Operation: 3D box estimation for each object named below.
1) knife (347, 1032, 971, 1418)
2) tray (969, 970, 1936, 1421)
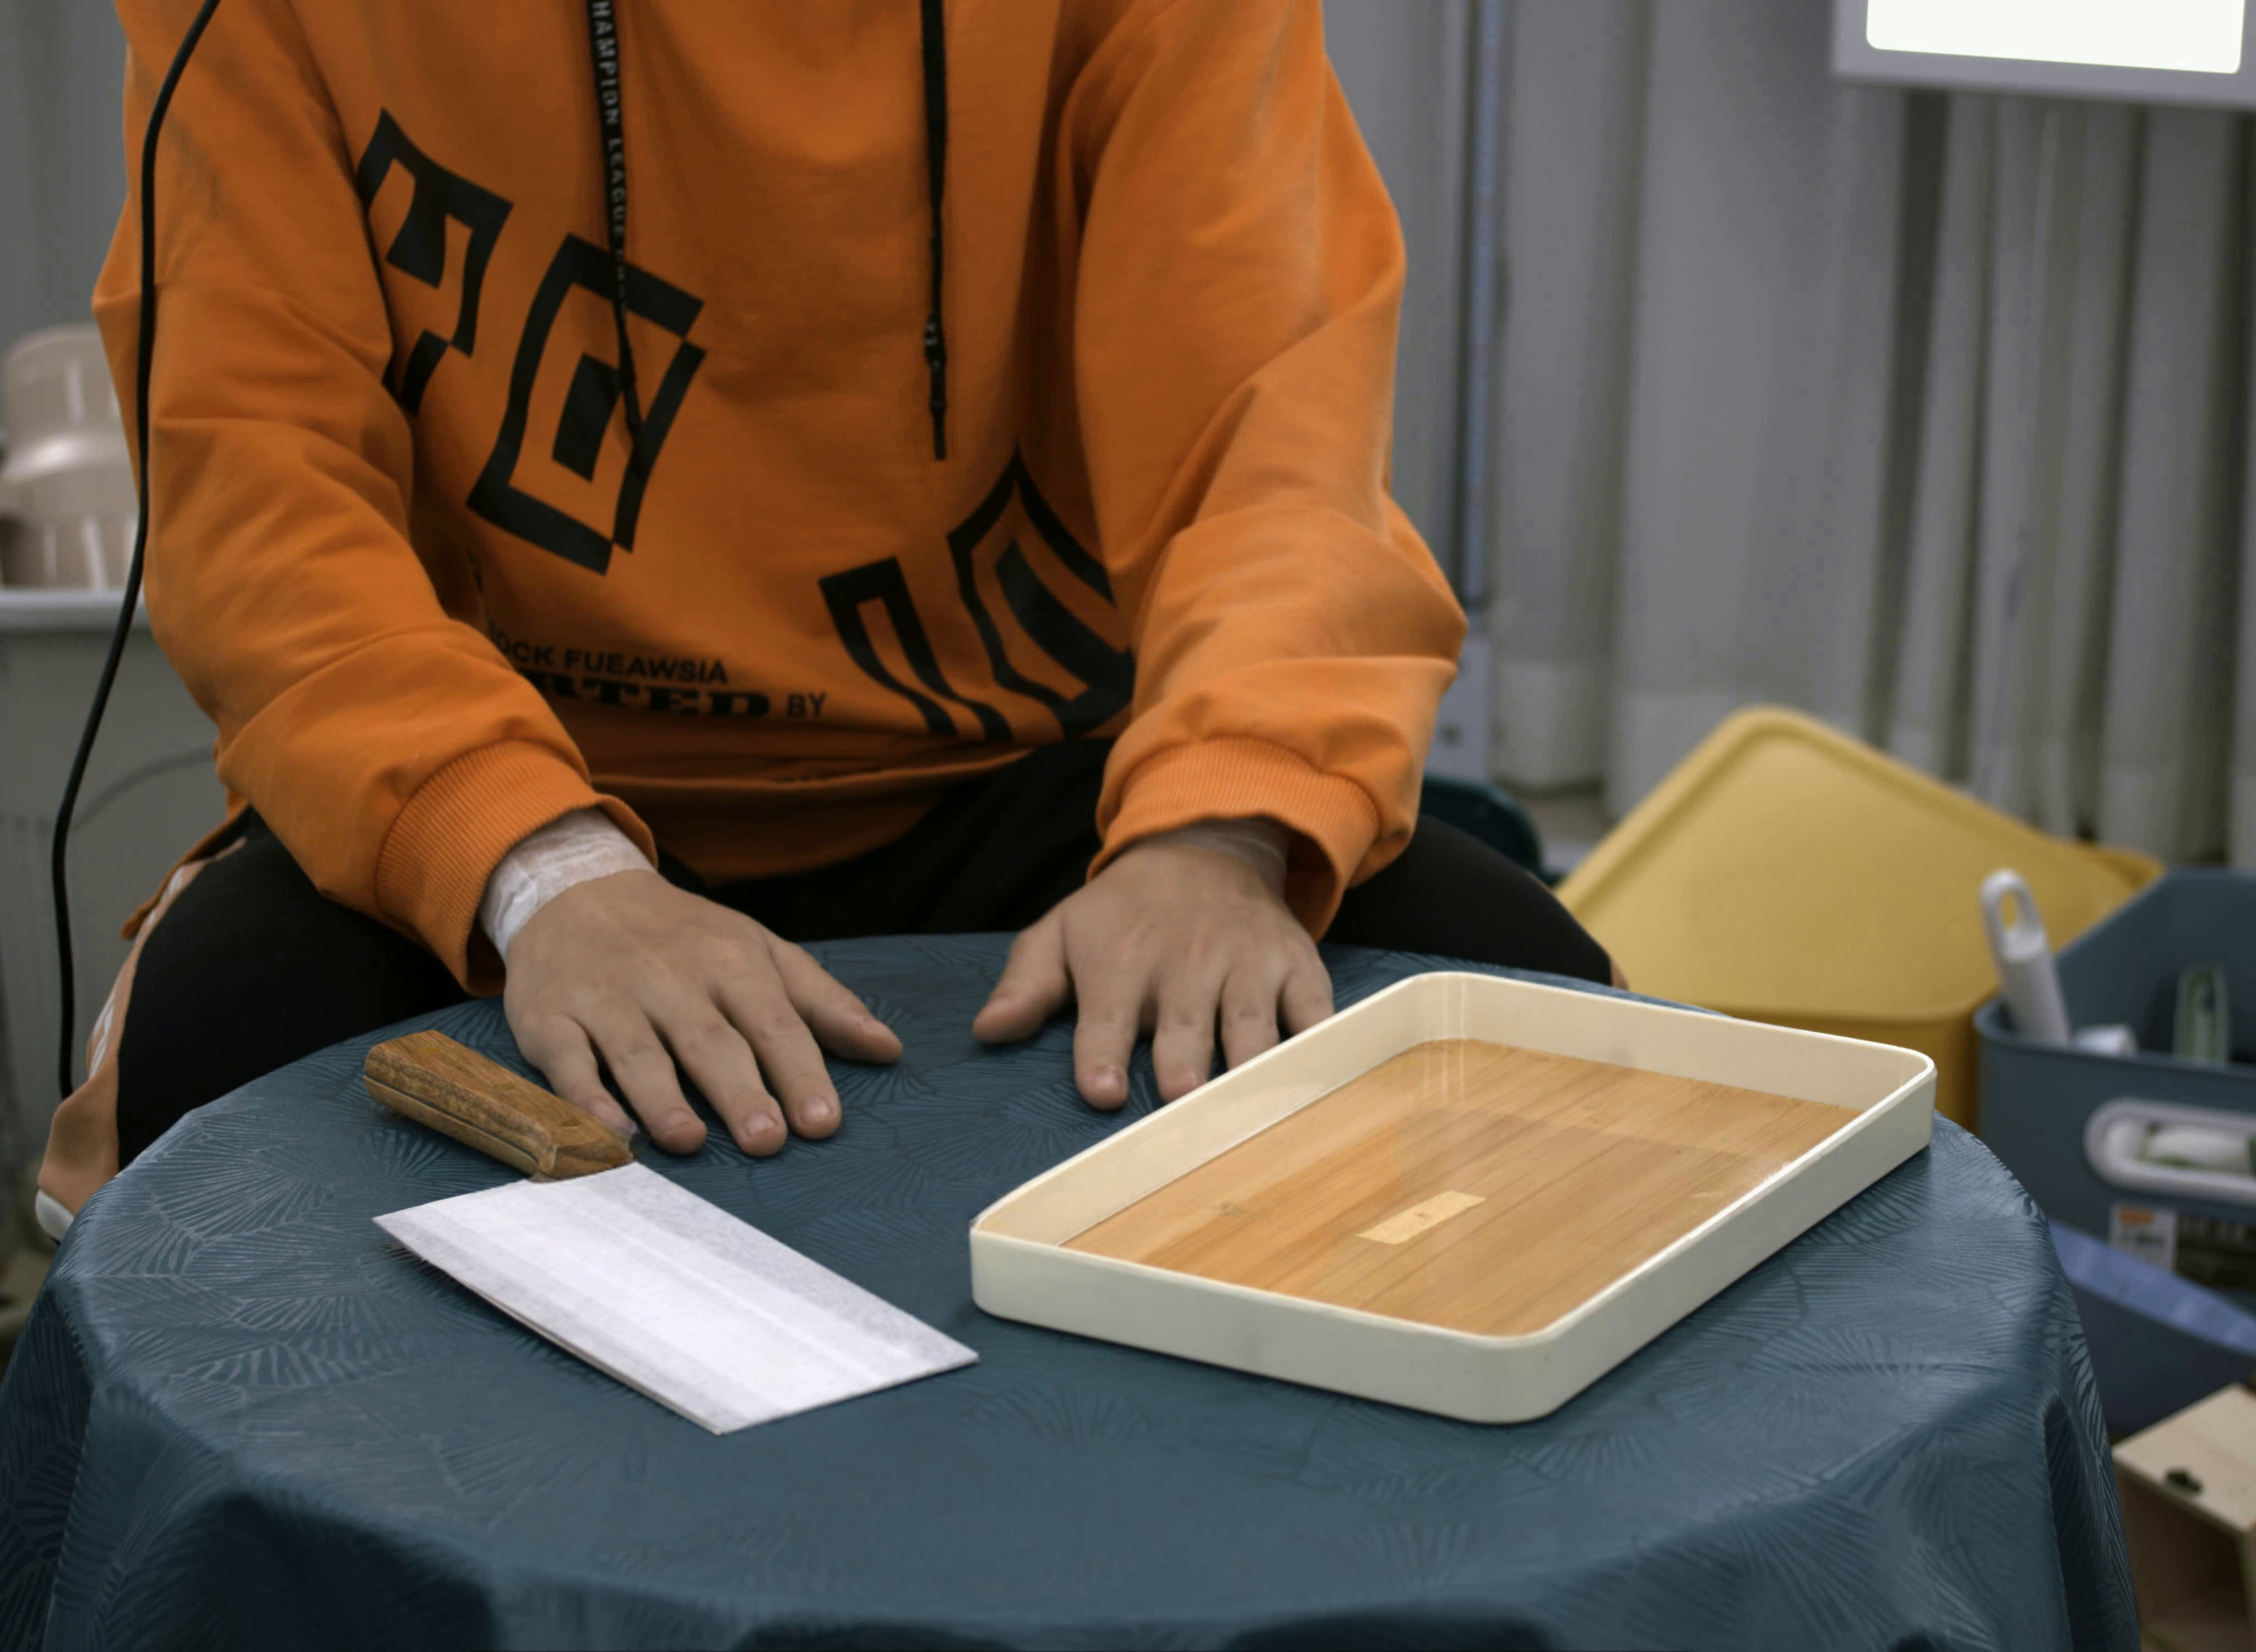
[{"bbox_3d":[-0.167,0.118,1.567,0.093,0.021,0.301,-13,23,-36],"label":"knife"},{"bbox_3d":[0.105,0.106,1.596,0.189,0.027,0.301,9,18,30],"label":"tray"}]
